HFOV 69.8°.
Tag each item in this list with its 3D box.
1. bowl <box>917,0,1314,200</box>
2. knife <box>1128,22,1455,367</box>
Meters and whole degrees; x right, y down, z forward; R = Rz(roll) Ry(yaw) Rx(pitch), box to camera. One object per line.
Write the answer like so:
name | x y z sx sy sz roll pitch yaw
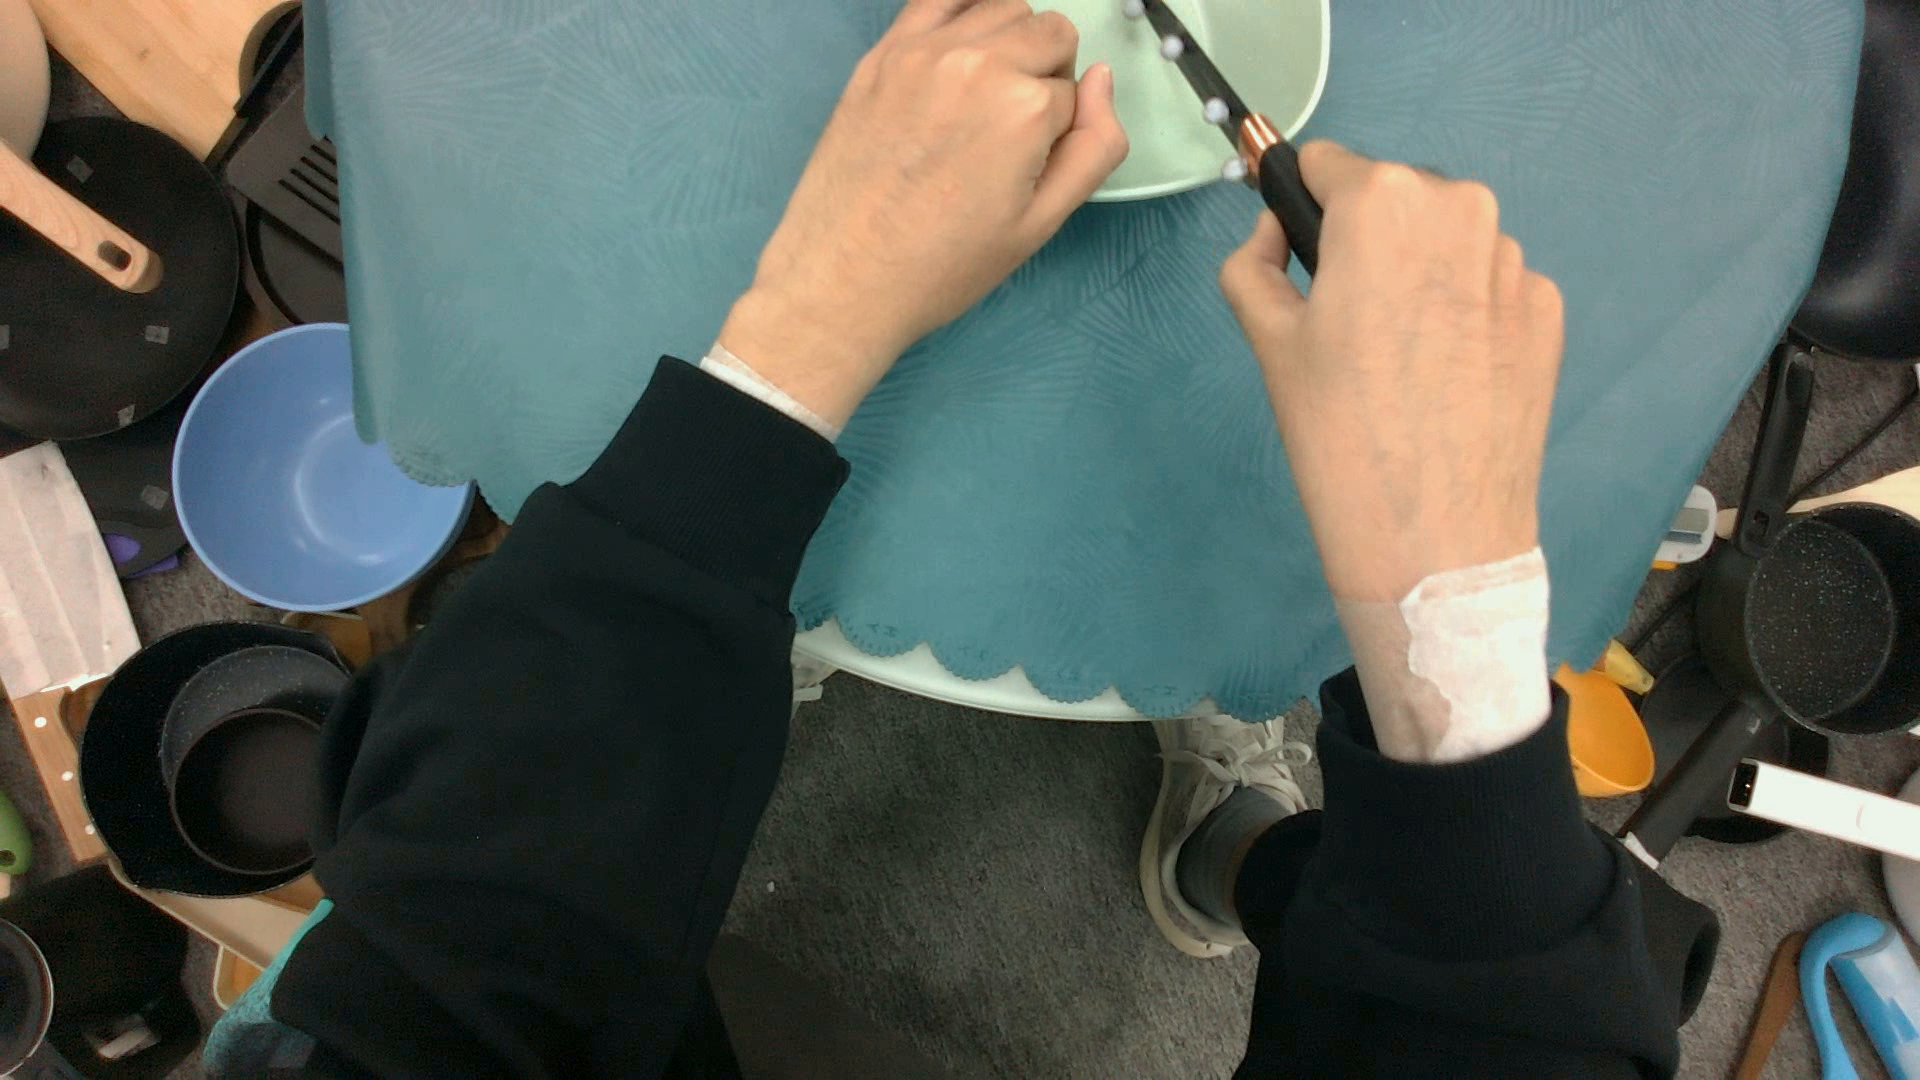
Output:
bowl | 0.052 -0.186 0.505 0.151 0.058 0.151 0 87 -5
knife | 0.099 -0.128 0.457 0.017 0.026 0.226 -27 48 3
